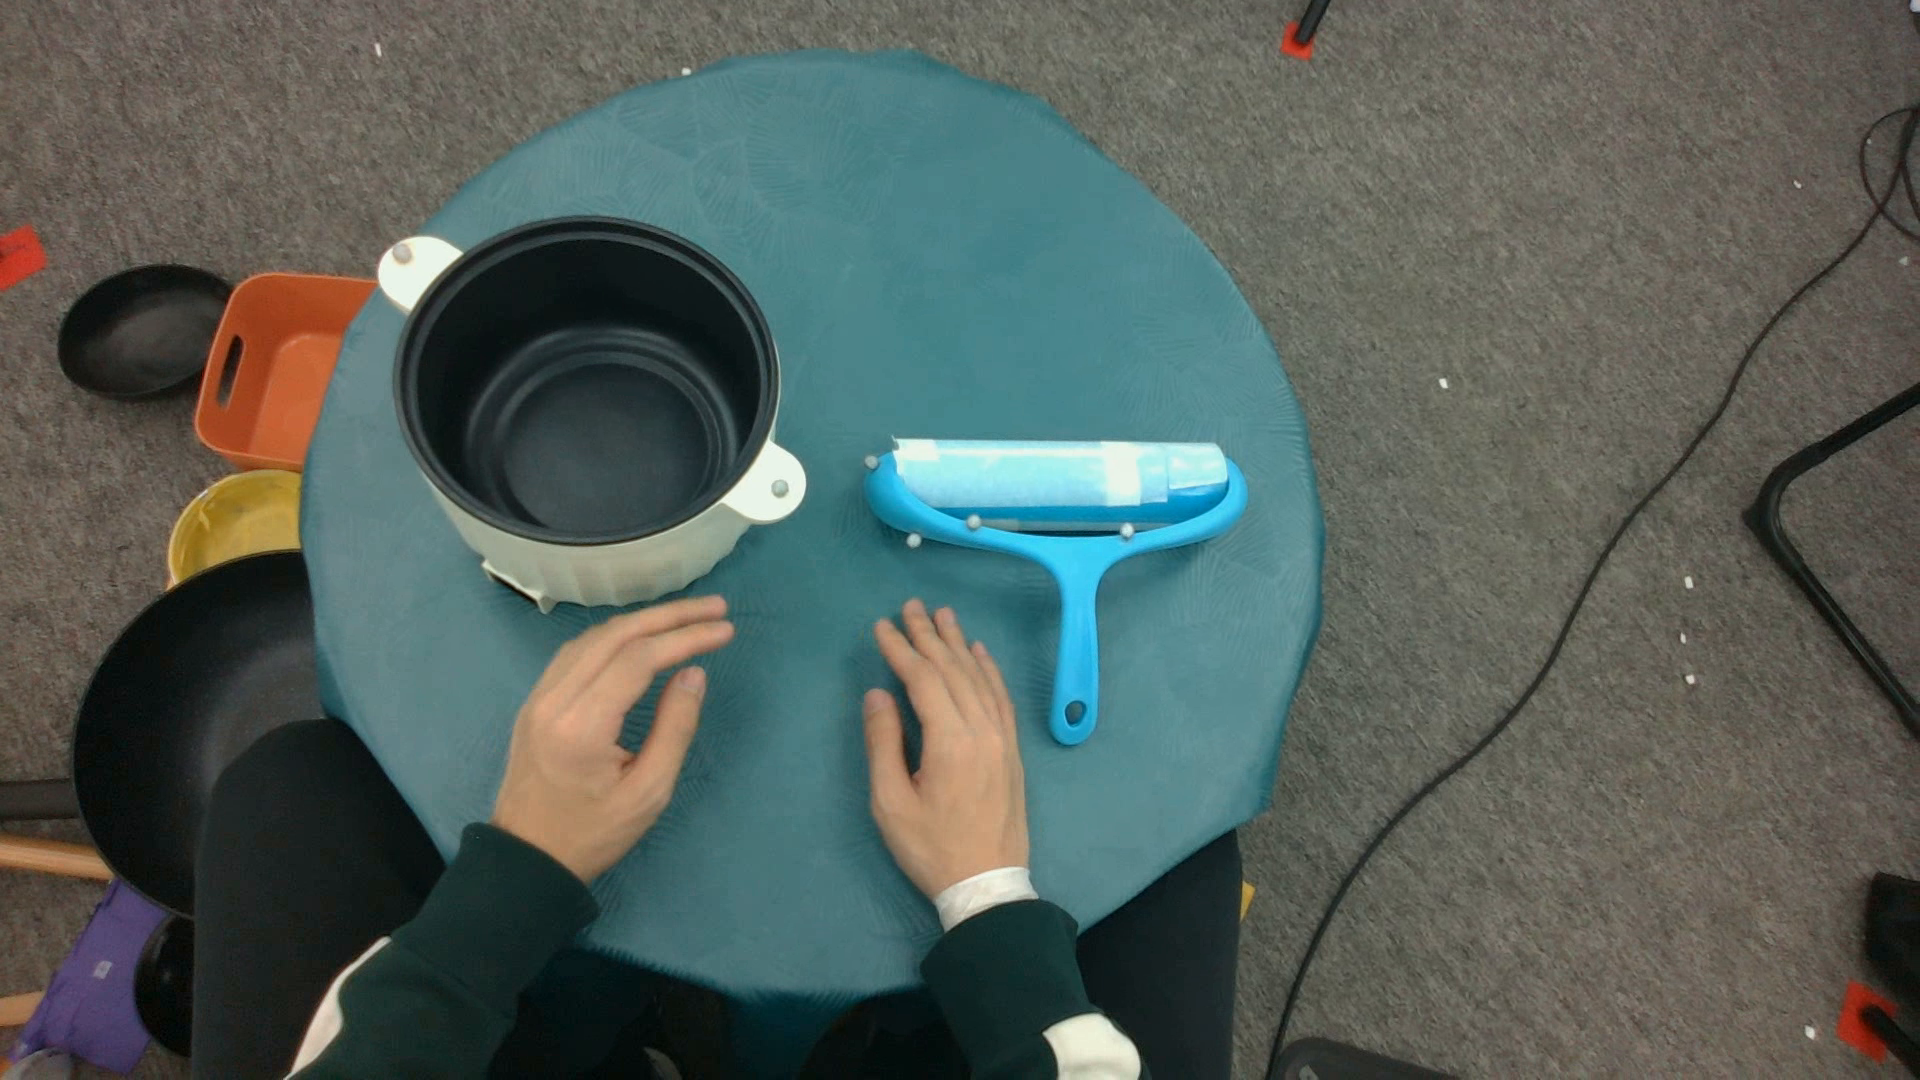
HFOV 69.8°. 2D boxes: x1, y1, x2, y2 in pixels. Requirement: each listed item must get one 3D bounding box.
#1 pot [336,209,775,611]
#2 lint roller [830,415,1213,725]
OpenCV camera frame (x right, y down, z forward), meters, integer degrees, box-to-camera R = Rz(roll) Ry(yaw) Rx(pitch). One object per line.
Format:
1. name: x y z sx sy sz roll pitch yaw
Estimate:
1. pot: -0.206 -0.066 0.732 0.240 0.142 0.191 30 70 1
2. lint roller: 0.047 0.011 0.792 0.229 0.067 0.181 -4 69 -14
